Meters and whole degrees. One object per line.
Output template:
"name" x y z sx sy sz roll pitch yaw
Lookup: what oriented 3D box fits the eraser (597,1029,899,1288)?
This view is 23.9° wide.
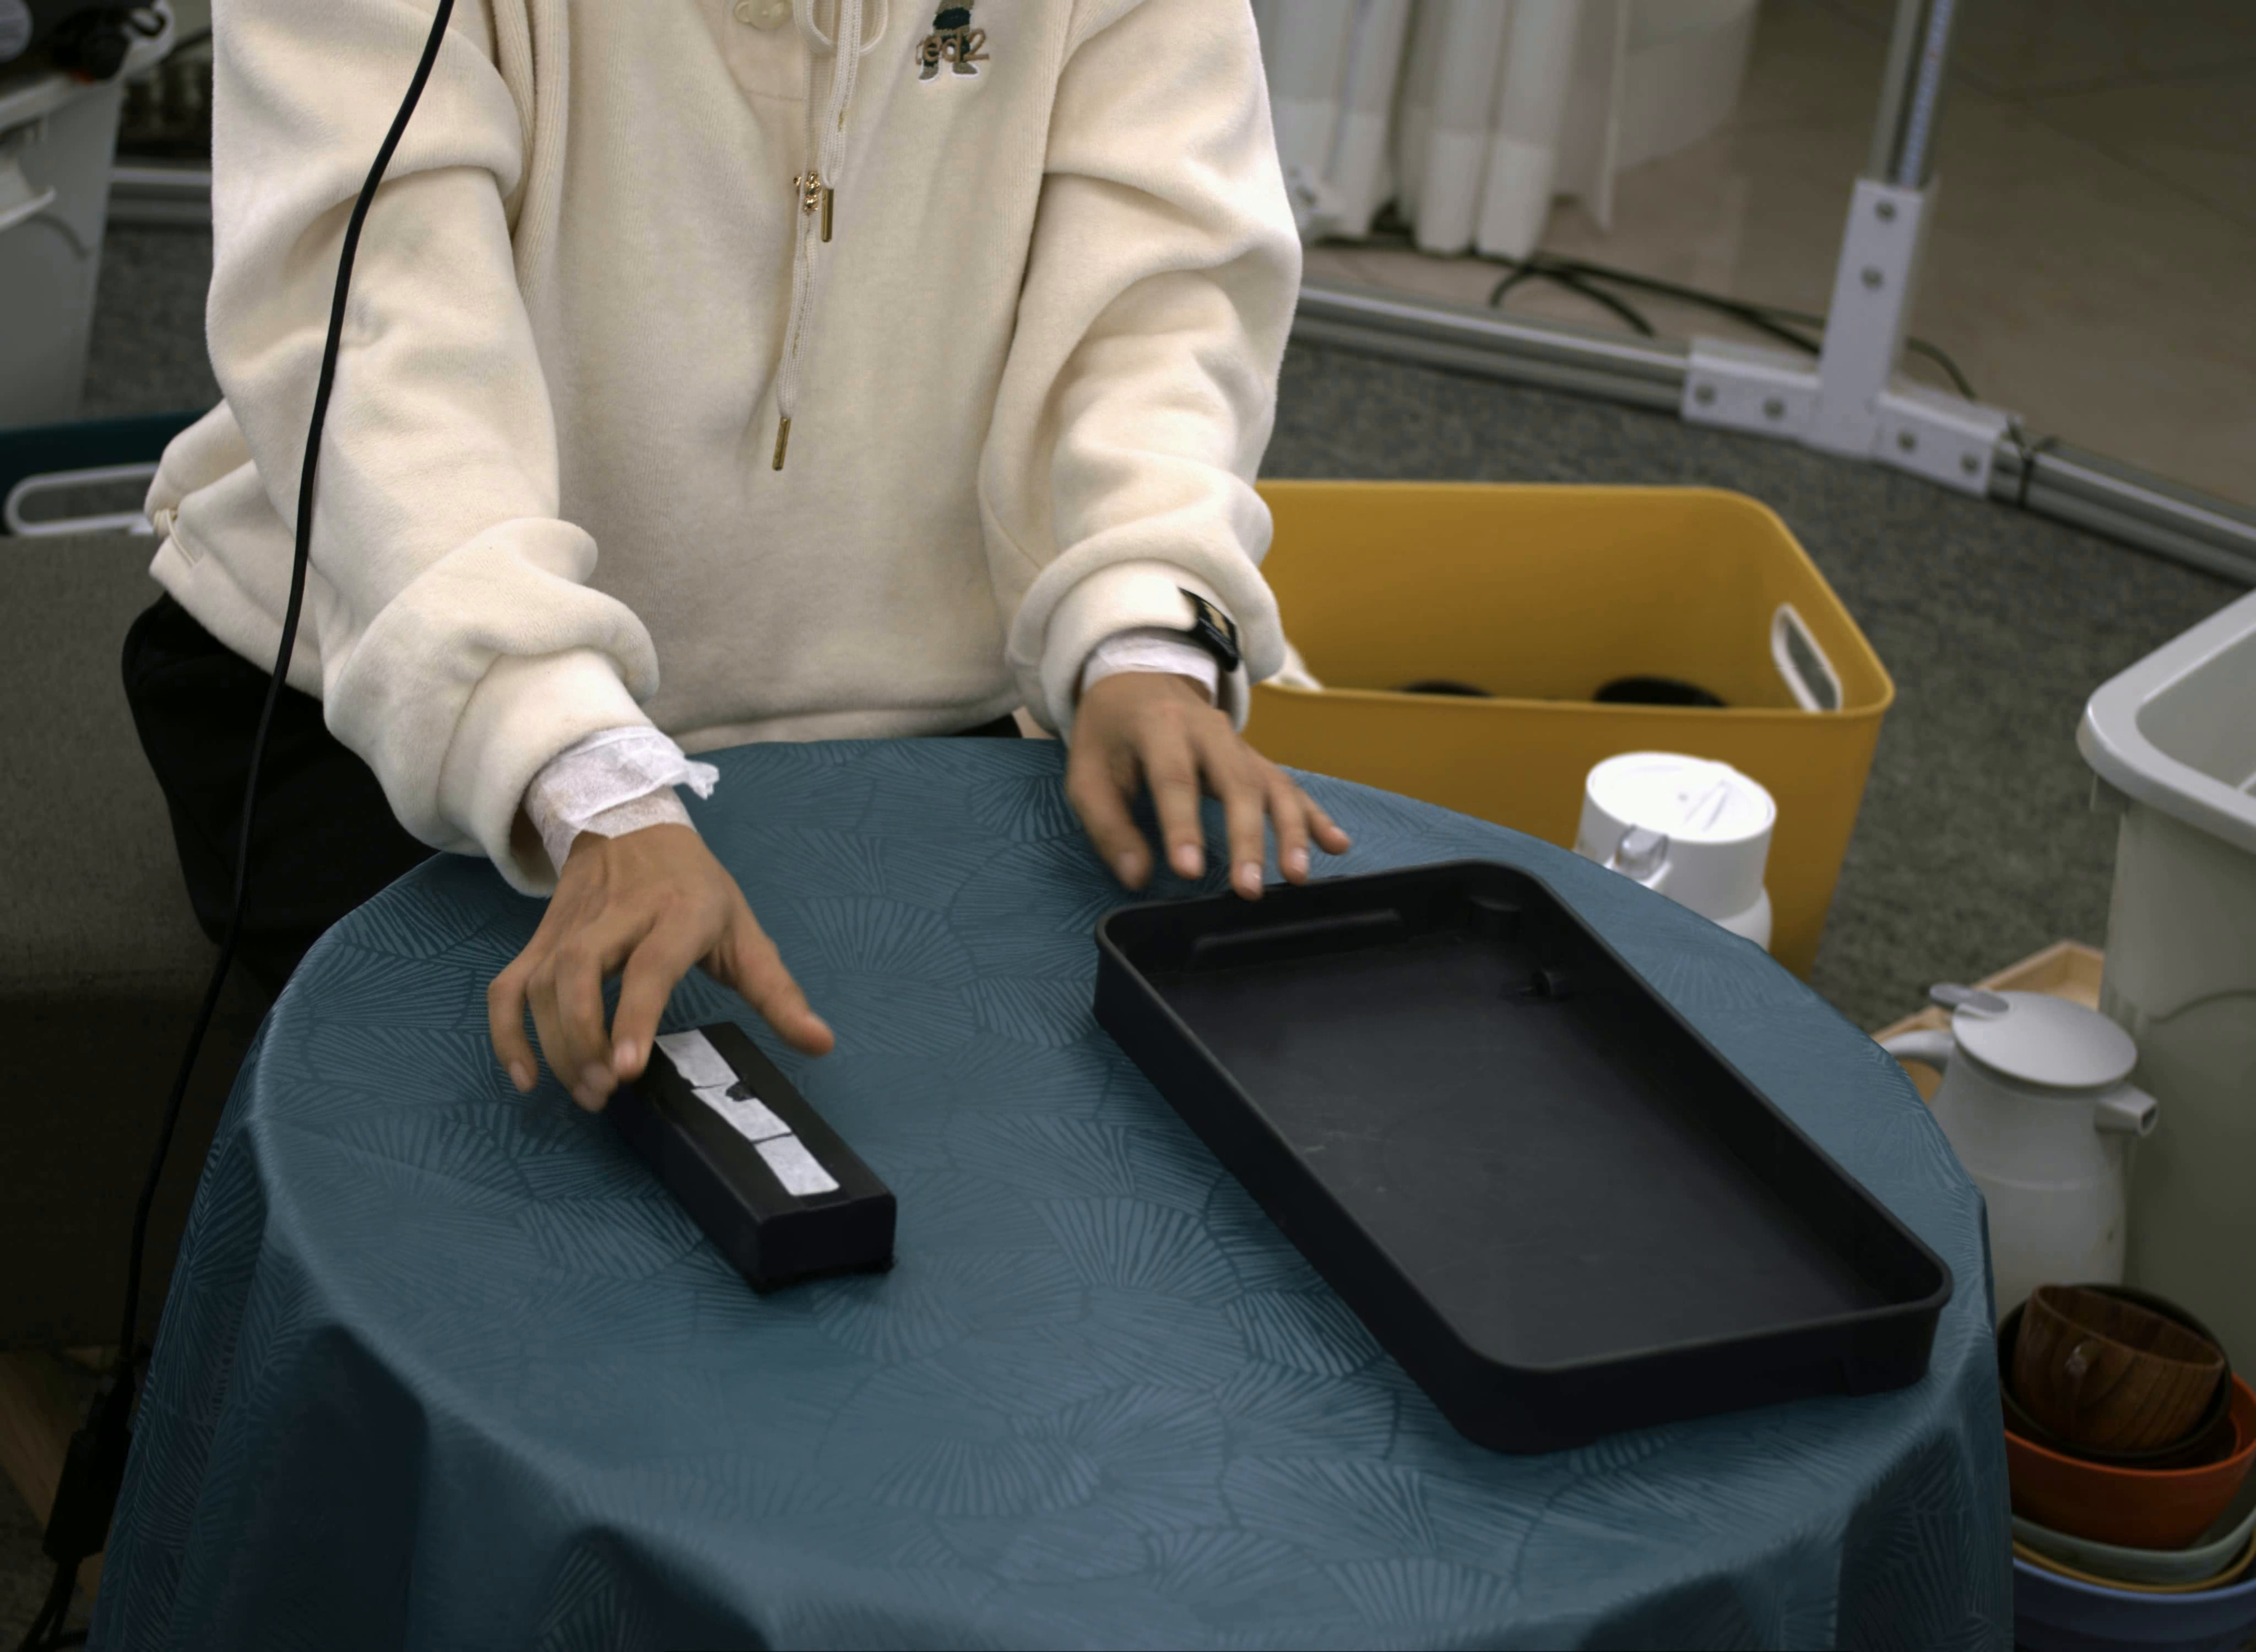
"eraser" -0.127 0.110 1.770 0.053 0.030 0.126 -4 29 -31

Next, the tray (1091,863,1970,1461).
"tray" 0.130 0.108 1.821 0.183 0.037 0.321 -7 30 -26
